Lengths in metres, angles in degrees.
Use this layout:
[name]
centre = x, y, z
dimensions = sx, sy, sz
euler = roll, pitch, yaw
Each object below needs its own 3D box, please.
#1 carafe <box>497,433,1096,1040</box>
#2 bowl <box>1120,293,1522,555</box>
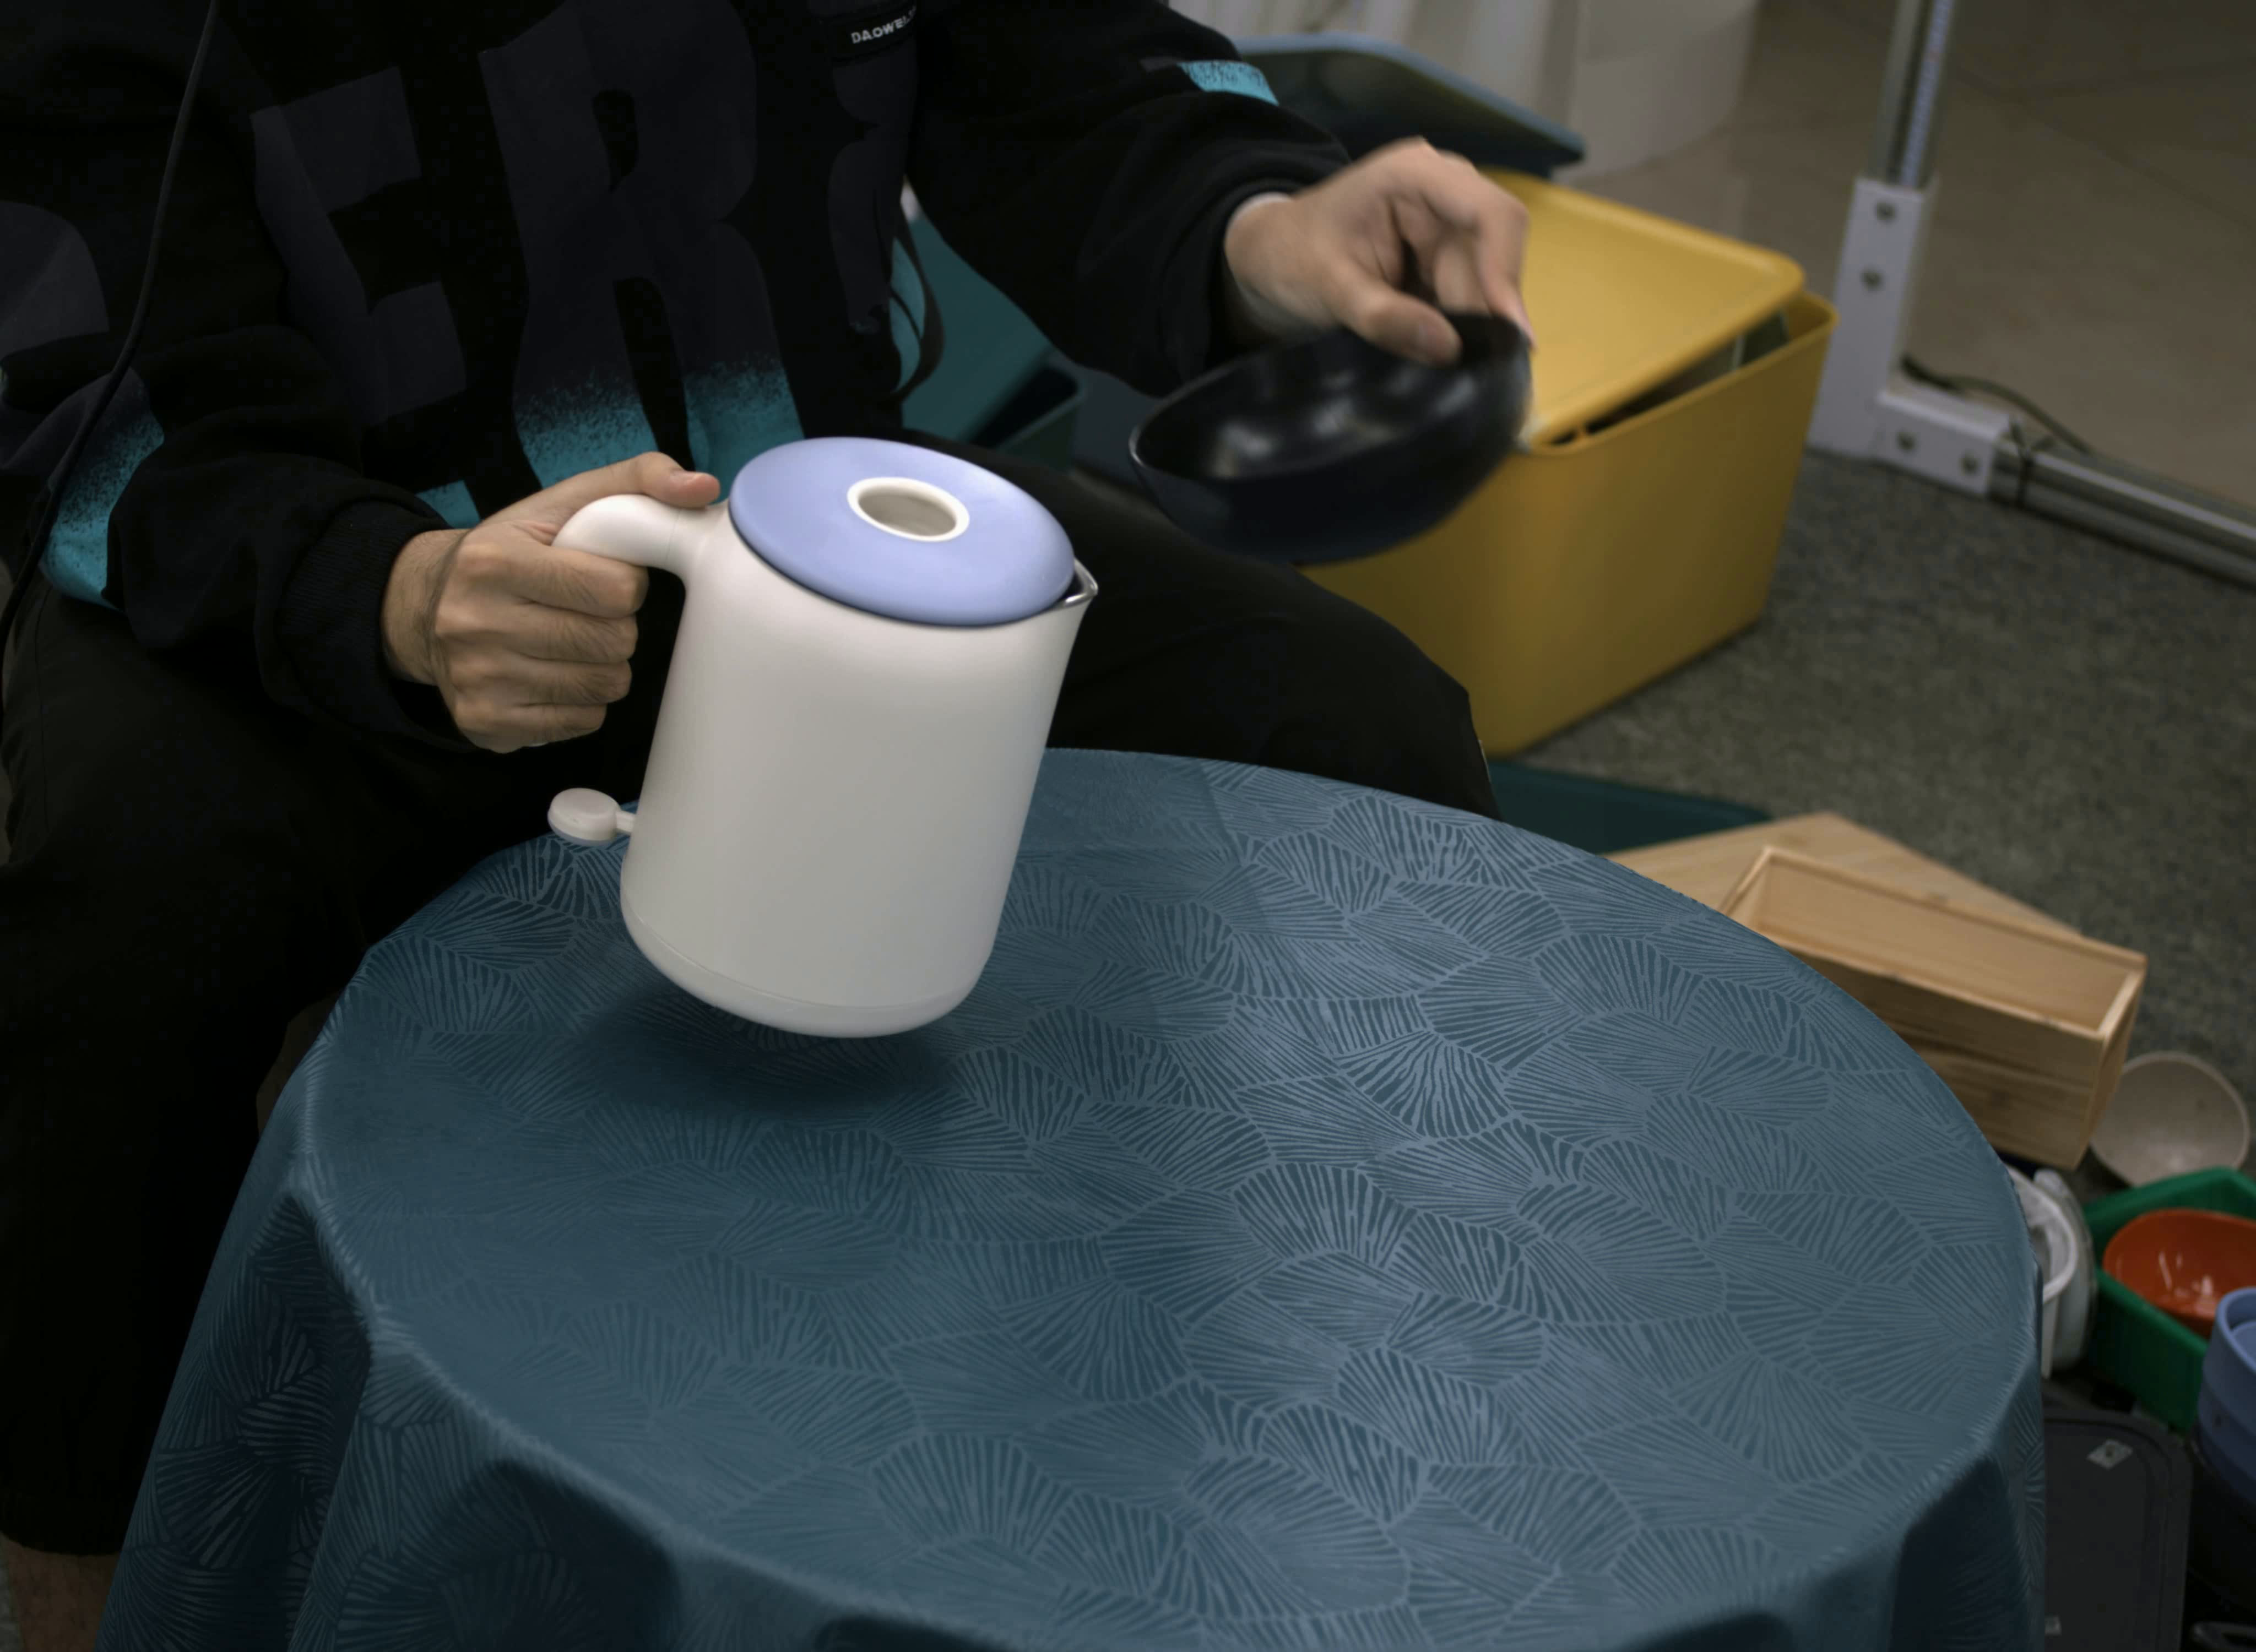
[carafe]
centre = -0.118, -0.036, 1.813
dimensions = 0.190, 0.182, 0.133
euler = 12, 28, 0
[bowl]
centre = 0.070, -0.127, 1.766
dimensions = 0.140, 0.049, 0.140
euler = -19, 19, 6
